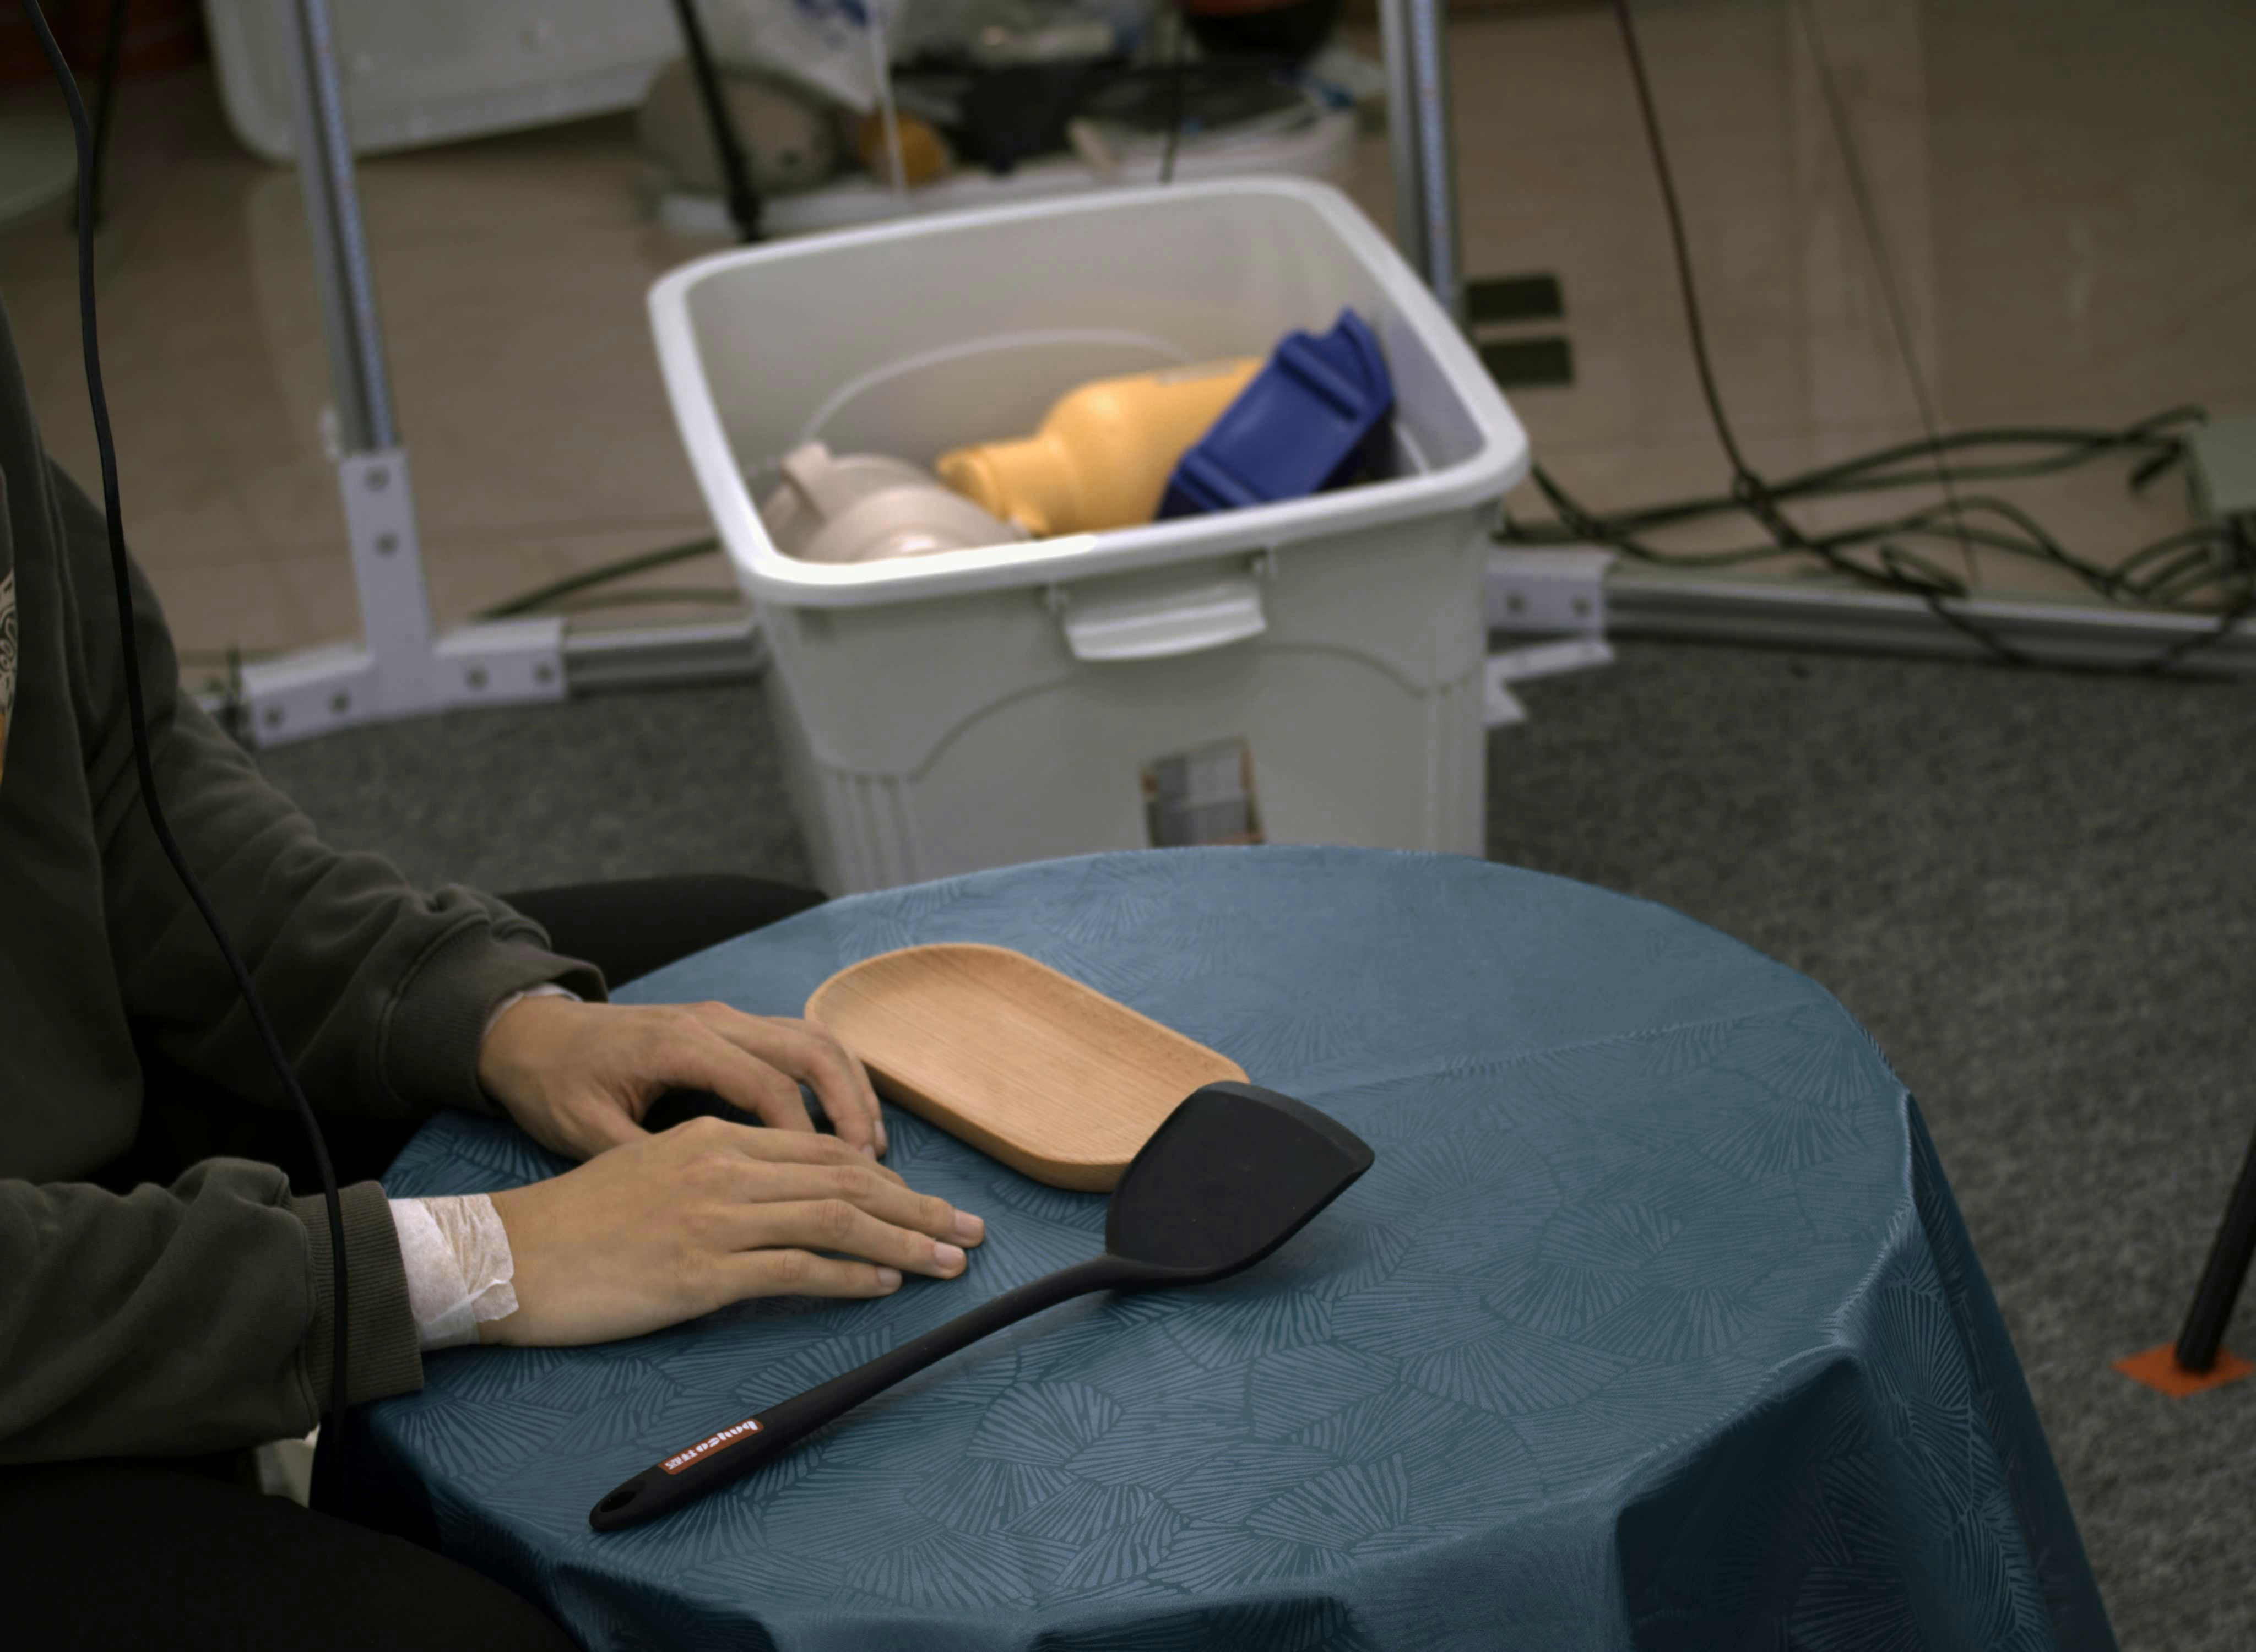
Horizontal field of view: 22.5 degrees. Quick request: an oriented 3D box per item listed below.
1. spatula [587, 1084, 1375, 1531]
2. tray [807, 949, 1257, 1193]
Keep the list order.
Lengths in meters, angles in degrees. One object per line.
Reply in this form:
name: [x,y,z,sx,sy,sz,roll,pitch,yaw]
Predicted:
spatula: [-0.059,0.176,2.039,0.324,0.041,0.099,-22,28,-30]
tray: [-0.039,0.095,2.232,0.101,0.020,0.229,-23,31,-30]
